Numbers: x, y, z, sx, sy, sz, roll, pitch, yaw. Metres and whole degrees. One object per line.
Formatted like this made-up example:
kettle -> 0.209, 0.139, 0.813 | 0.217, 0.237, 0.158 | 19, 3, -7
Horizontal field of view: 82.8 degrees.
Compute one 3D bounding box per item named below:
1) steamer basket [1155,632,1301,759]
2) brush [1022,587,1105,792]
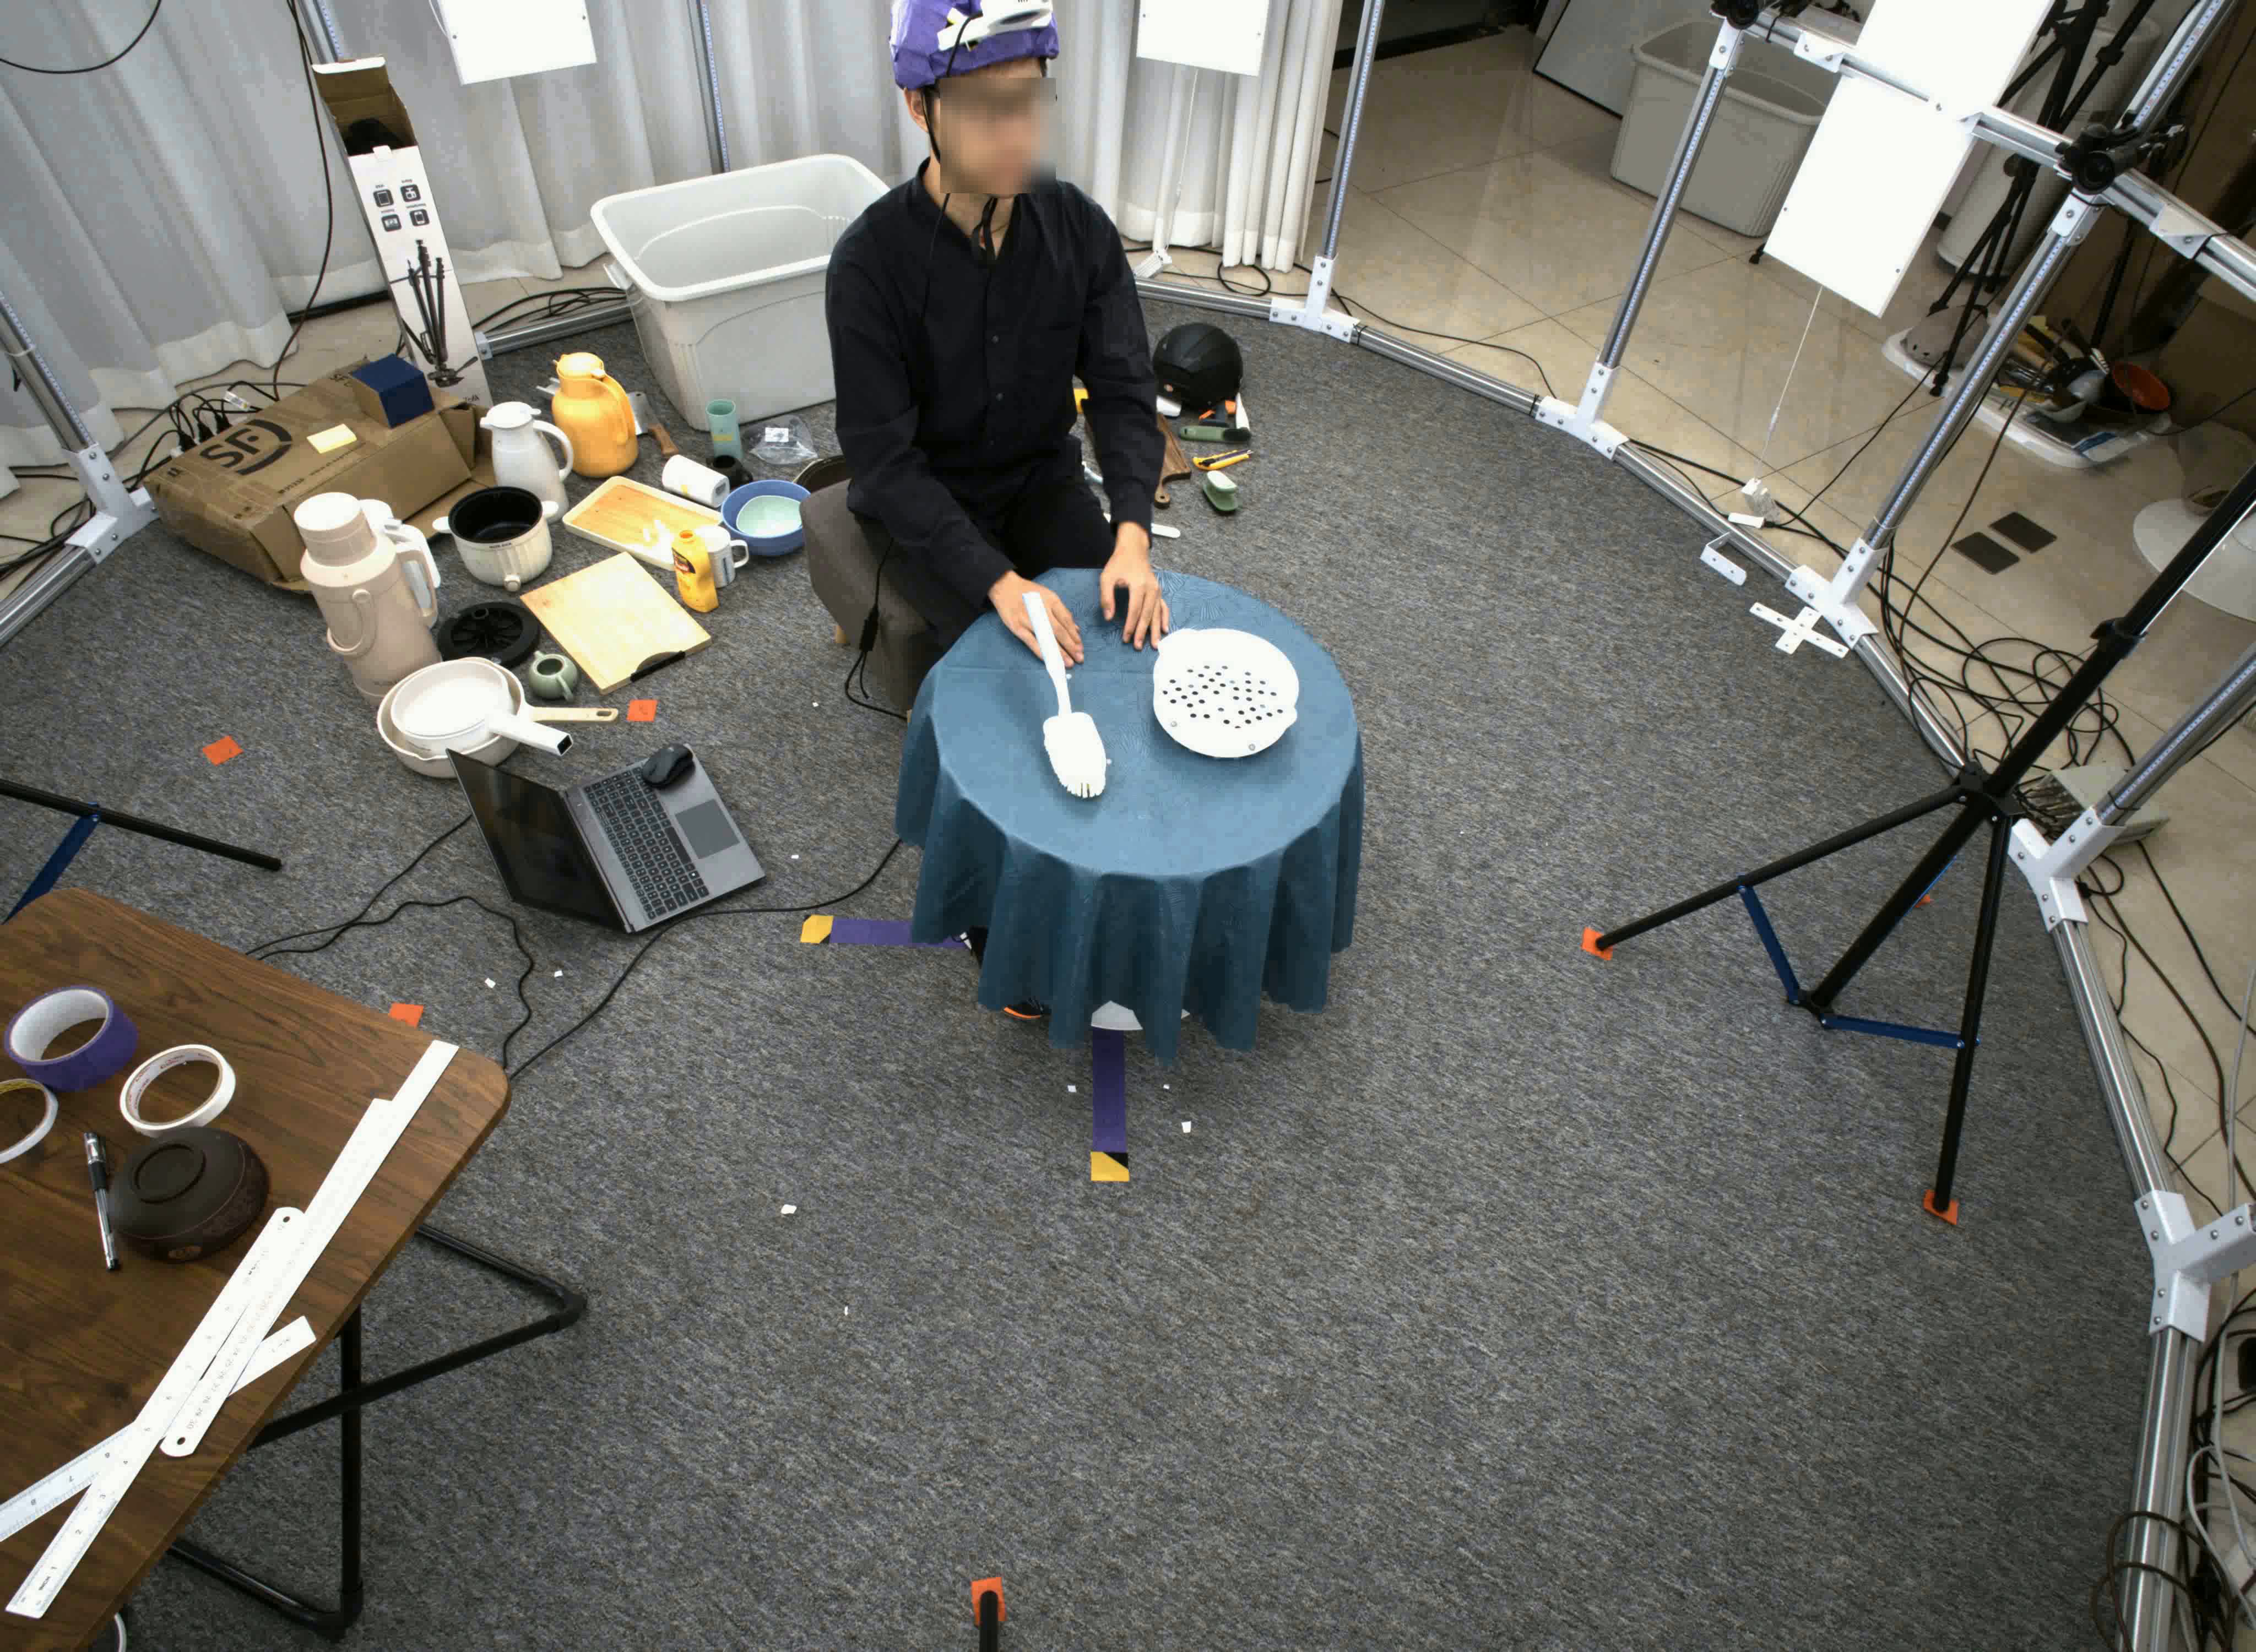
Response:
steamer basket -> 0.137, -0.181, 1.793 | 0.203, 0.067, 0.234 | -32, 59, -28
brush -> -0.093, -0.185, 1.767 | 0.082, 0.083, 0.332 | 12, 51, -45
